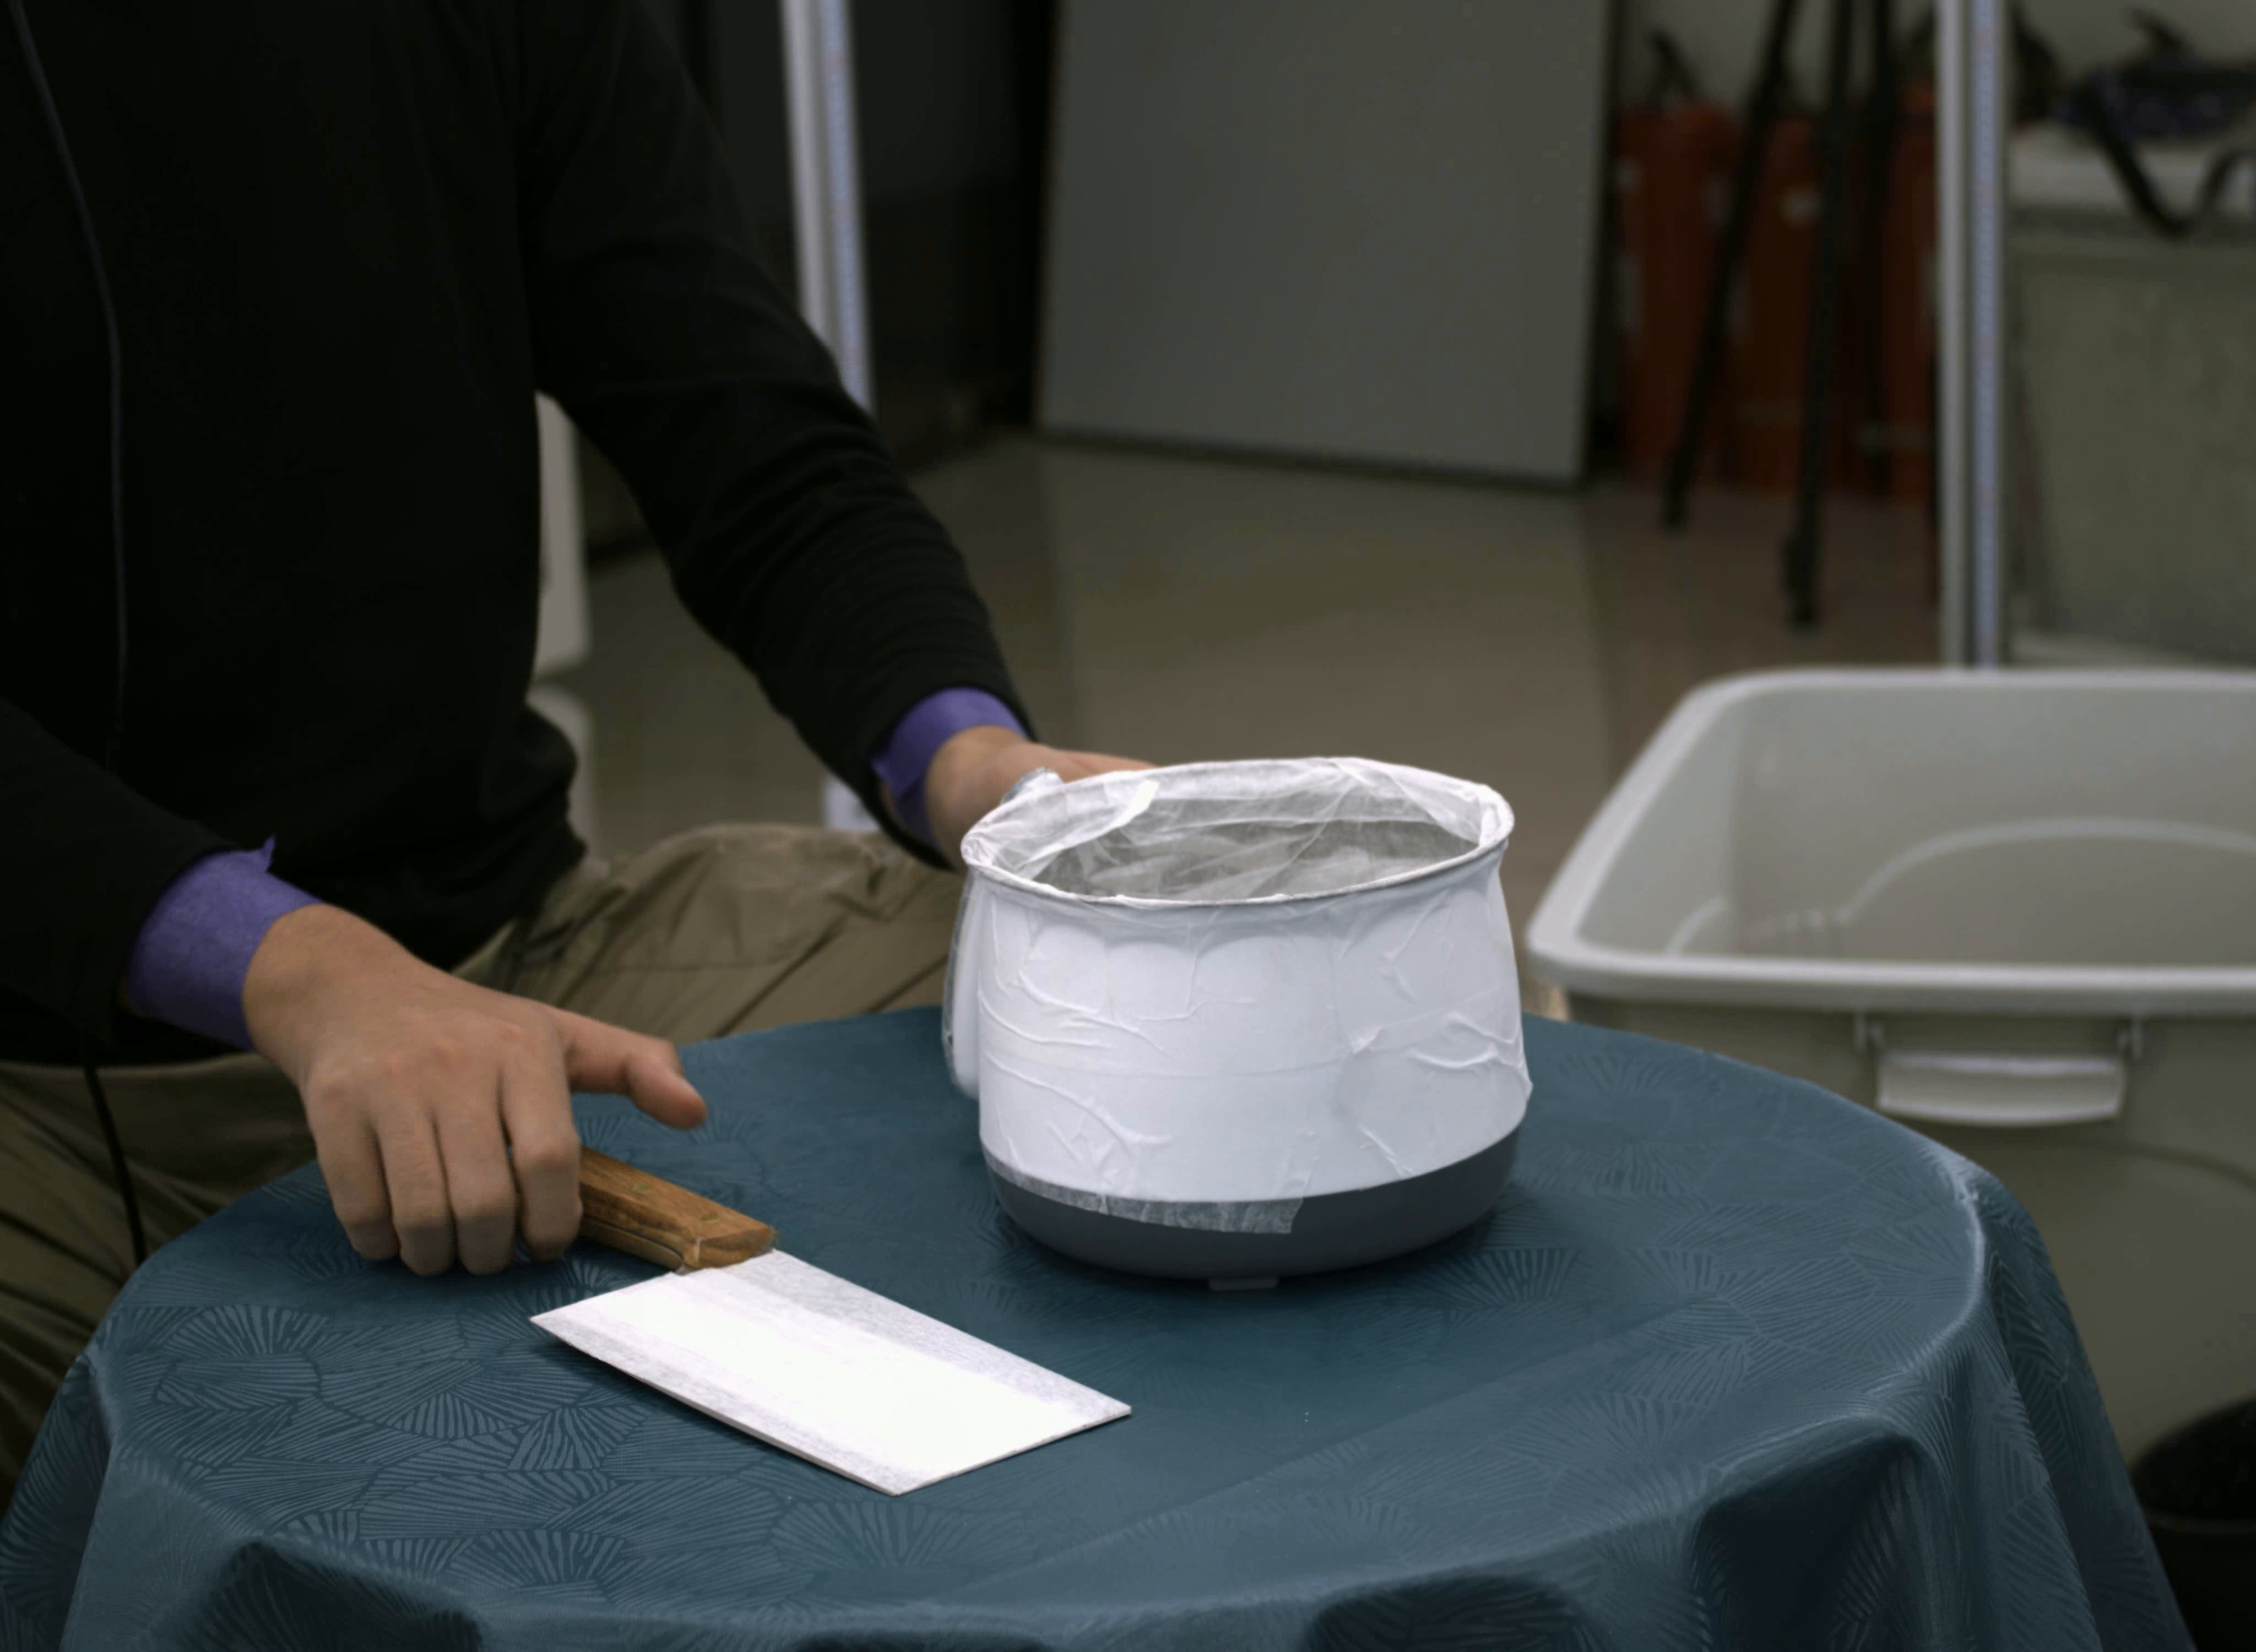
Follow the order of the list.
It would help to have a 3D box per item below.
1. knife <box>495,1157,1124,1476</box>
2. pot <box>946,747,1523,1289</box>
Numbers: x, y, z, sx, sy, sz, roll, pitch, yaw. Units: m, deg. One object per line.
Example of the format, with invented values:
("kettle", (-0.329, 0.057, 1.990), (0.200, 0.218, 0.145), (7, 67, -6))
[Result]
("knife", (-0.124, 0.152, 1.662), (0.091, 0.021, 0.309), (-14, 19, -35))
("pot", (0.020, 0.055, 1.741), (0.175, 0.138, 0.236), (-14, 18, -38))
